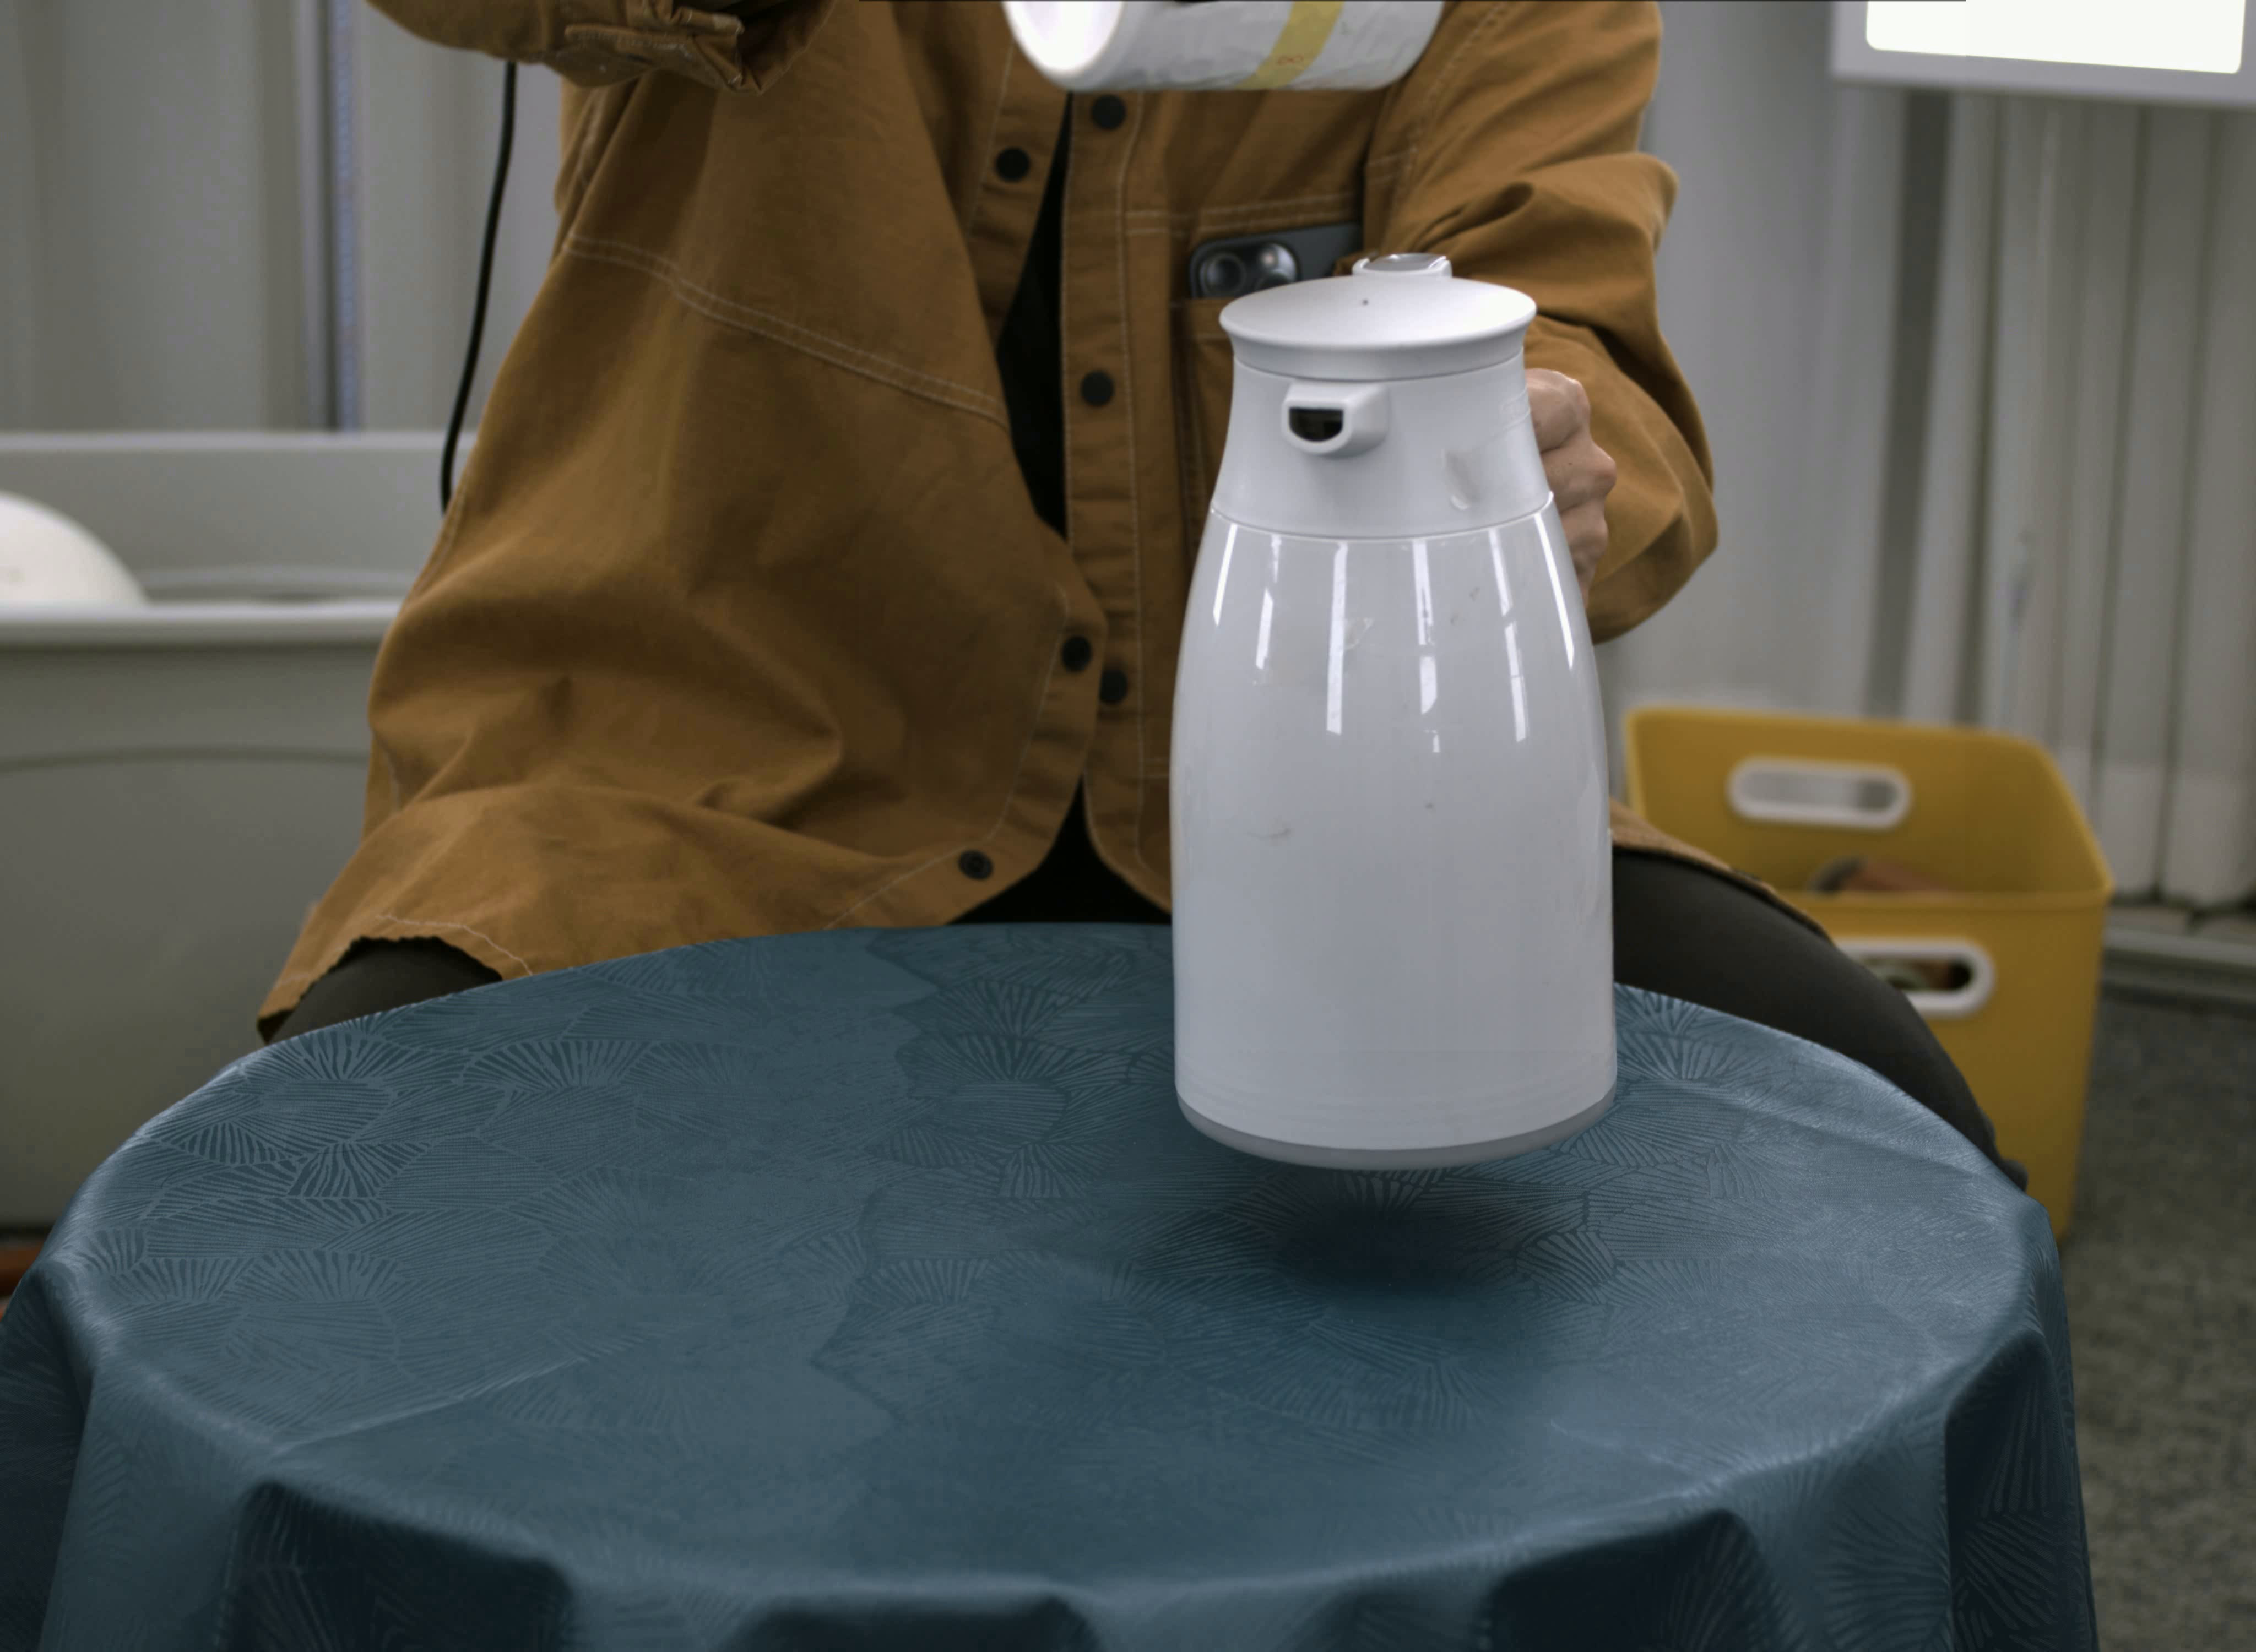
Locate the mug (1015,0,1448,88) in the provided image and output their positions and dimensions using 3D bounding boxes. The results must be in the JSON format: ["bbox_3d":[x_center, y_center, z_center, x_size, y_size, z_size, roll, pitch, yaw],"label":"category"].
[{"bbox_3d":[0.020,-0.259,1.474,0.102,0.085,0.116,-2,33,-33],"label":"mug"}]

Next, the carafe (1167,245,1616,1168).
[{"bbox_3d":[0.079,-0.044,1.558,0.131,0.251,0.167,2,18,17],"label":"carafe"}]
